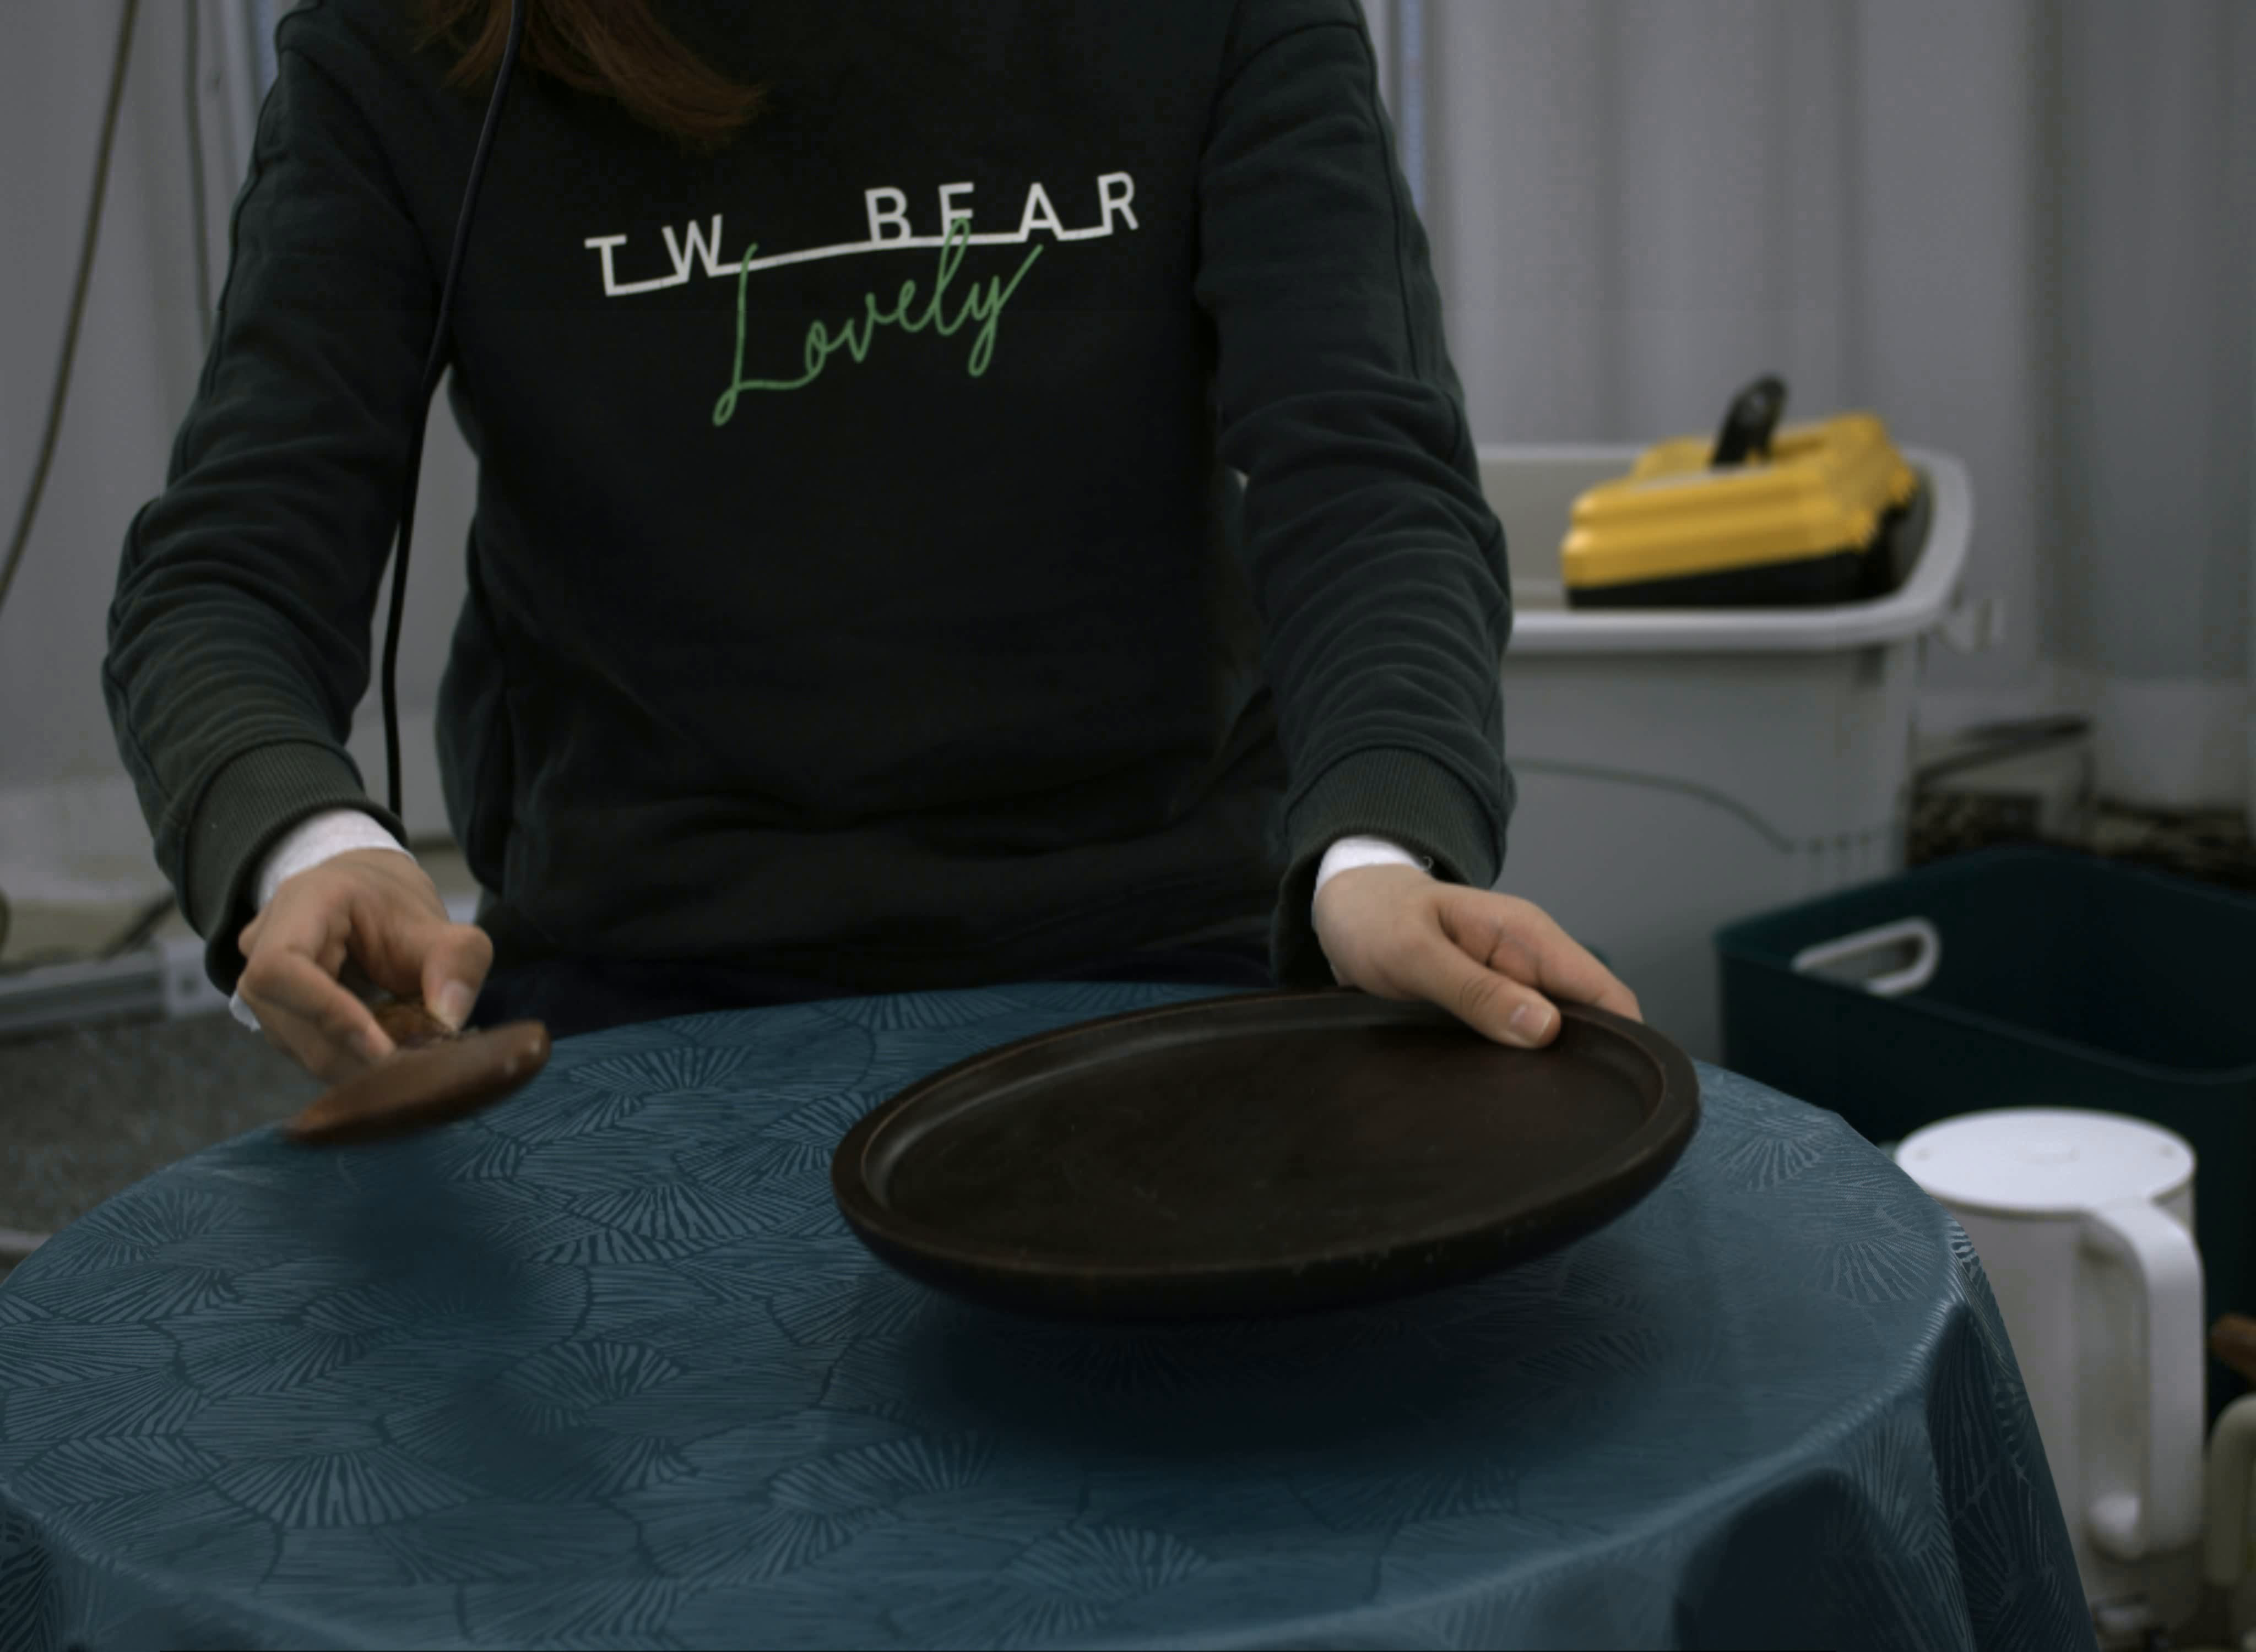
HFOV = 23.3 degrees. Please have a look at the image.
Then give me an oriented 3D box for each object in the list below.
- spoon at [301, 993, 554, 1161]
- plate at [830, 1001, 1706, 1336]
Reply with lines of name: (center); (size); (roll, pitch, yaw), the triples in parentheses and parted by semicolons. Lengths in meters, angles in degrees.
spoon: (-0.203, 0.070, 1.576); (0.075, 0.017, 0.216); (-22, 9, -7)
plate: (0.040, 0.096, 1.575); (0.254, 0.029, 0.256); (-5, 16, 1)
